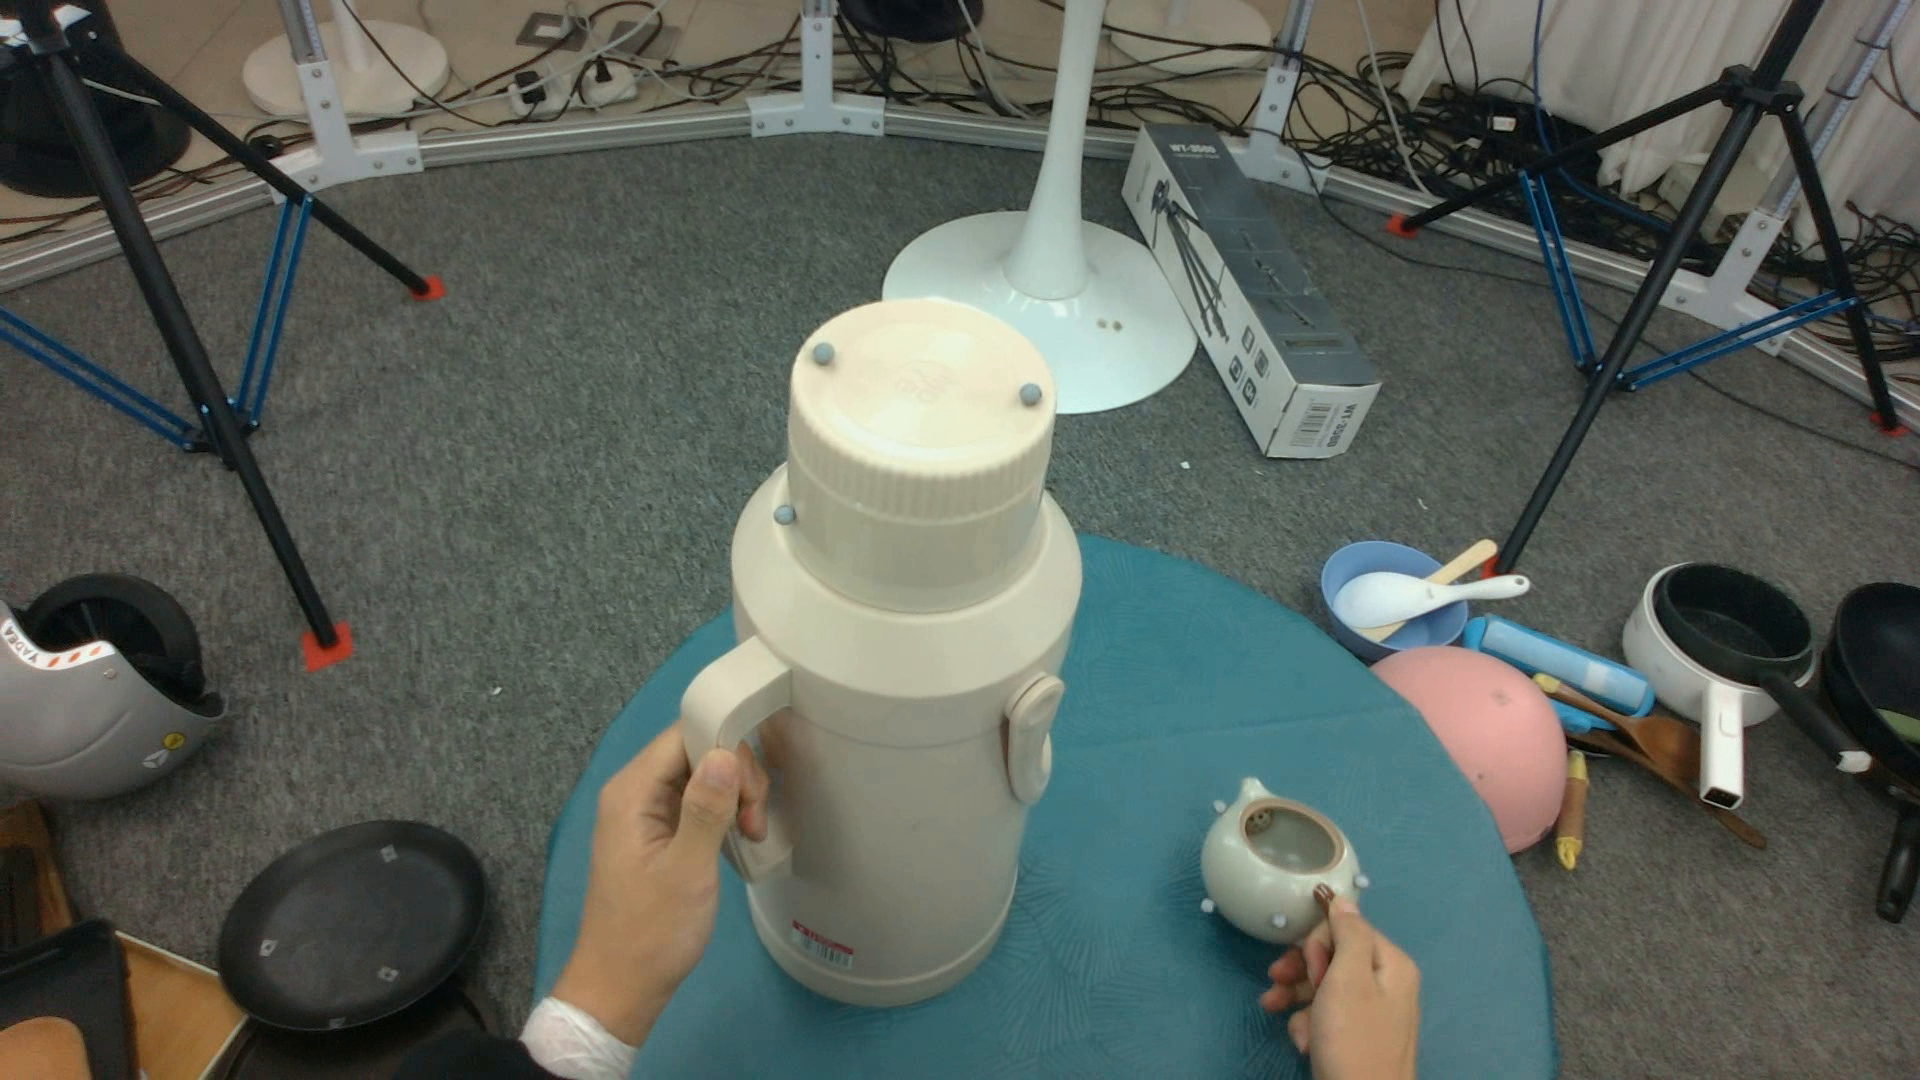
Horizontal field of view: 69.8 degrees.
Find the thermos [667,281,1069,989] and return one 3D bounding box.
[{"bbox_3d":[-0.050,0.070,0.675,0.175,0.404,0.208,39,54,24],"label":"thermos"}]

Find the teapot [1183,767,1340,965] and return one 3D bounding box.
[{"bbox_3d":[0.181,0.193,0.808,0.092,0.059,0.128,-2,32,-20],"label":"teapot"}]
